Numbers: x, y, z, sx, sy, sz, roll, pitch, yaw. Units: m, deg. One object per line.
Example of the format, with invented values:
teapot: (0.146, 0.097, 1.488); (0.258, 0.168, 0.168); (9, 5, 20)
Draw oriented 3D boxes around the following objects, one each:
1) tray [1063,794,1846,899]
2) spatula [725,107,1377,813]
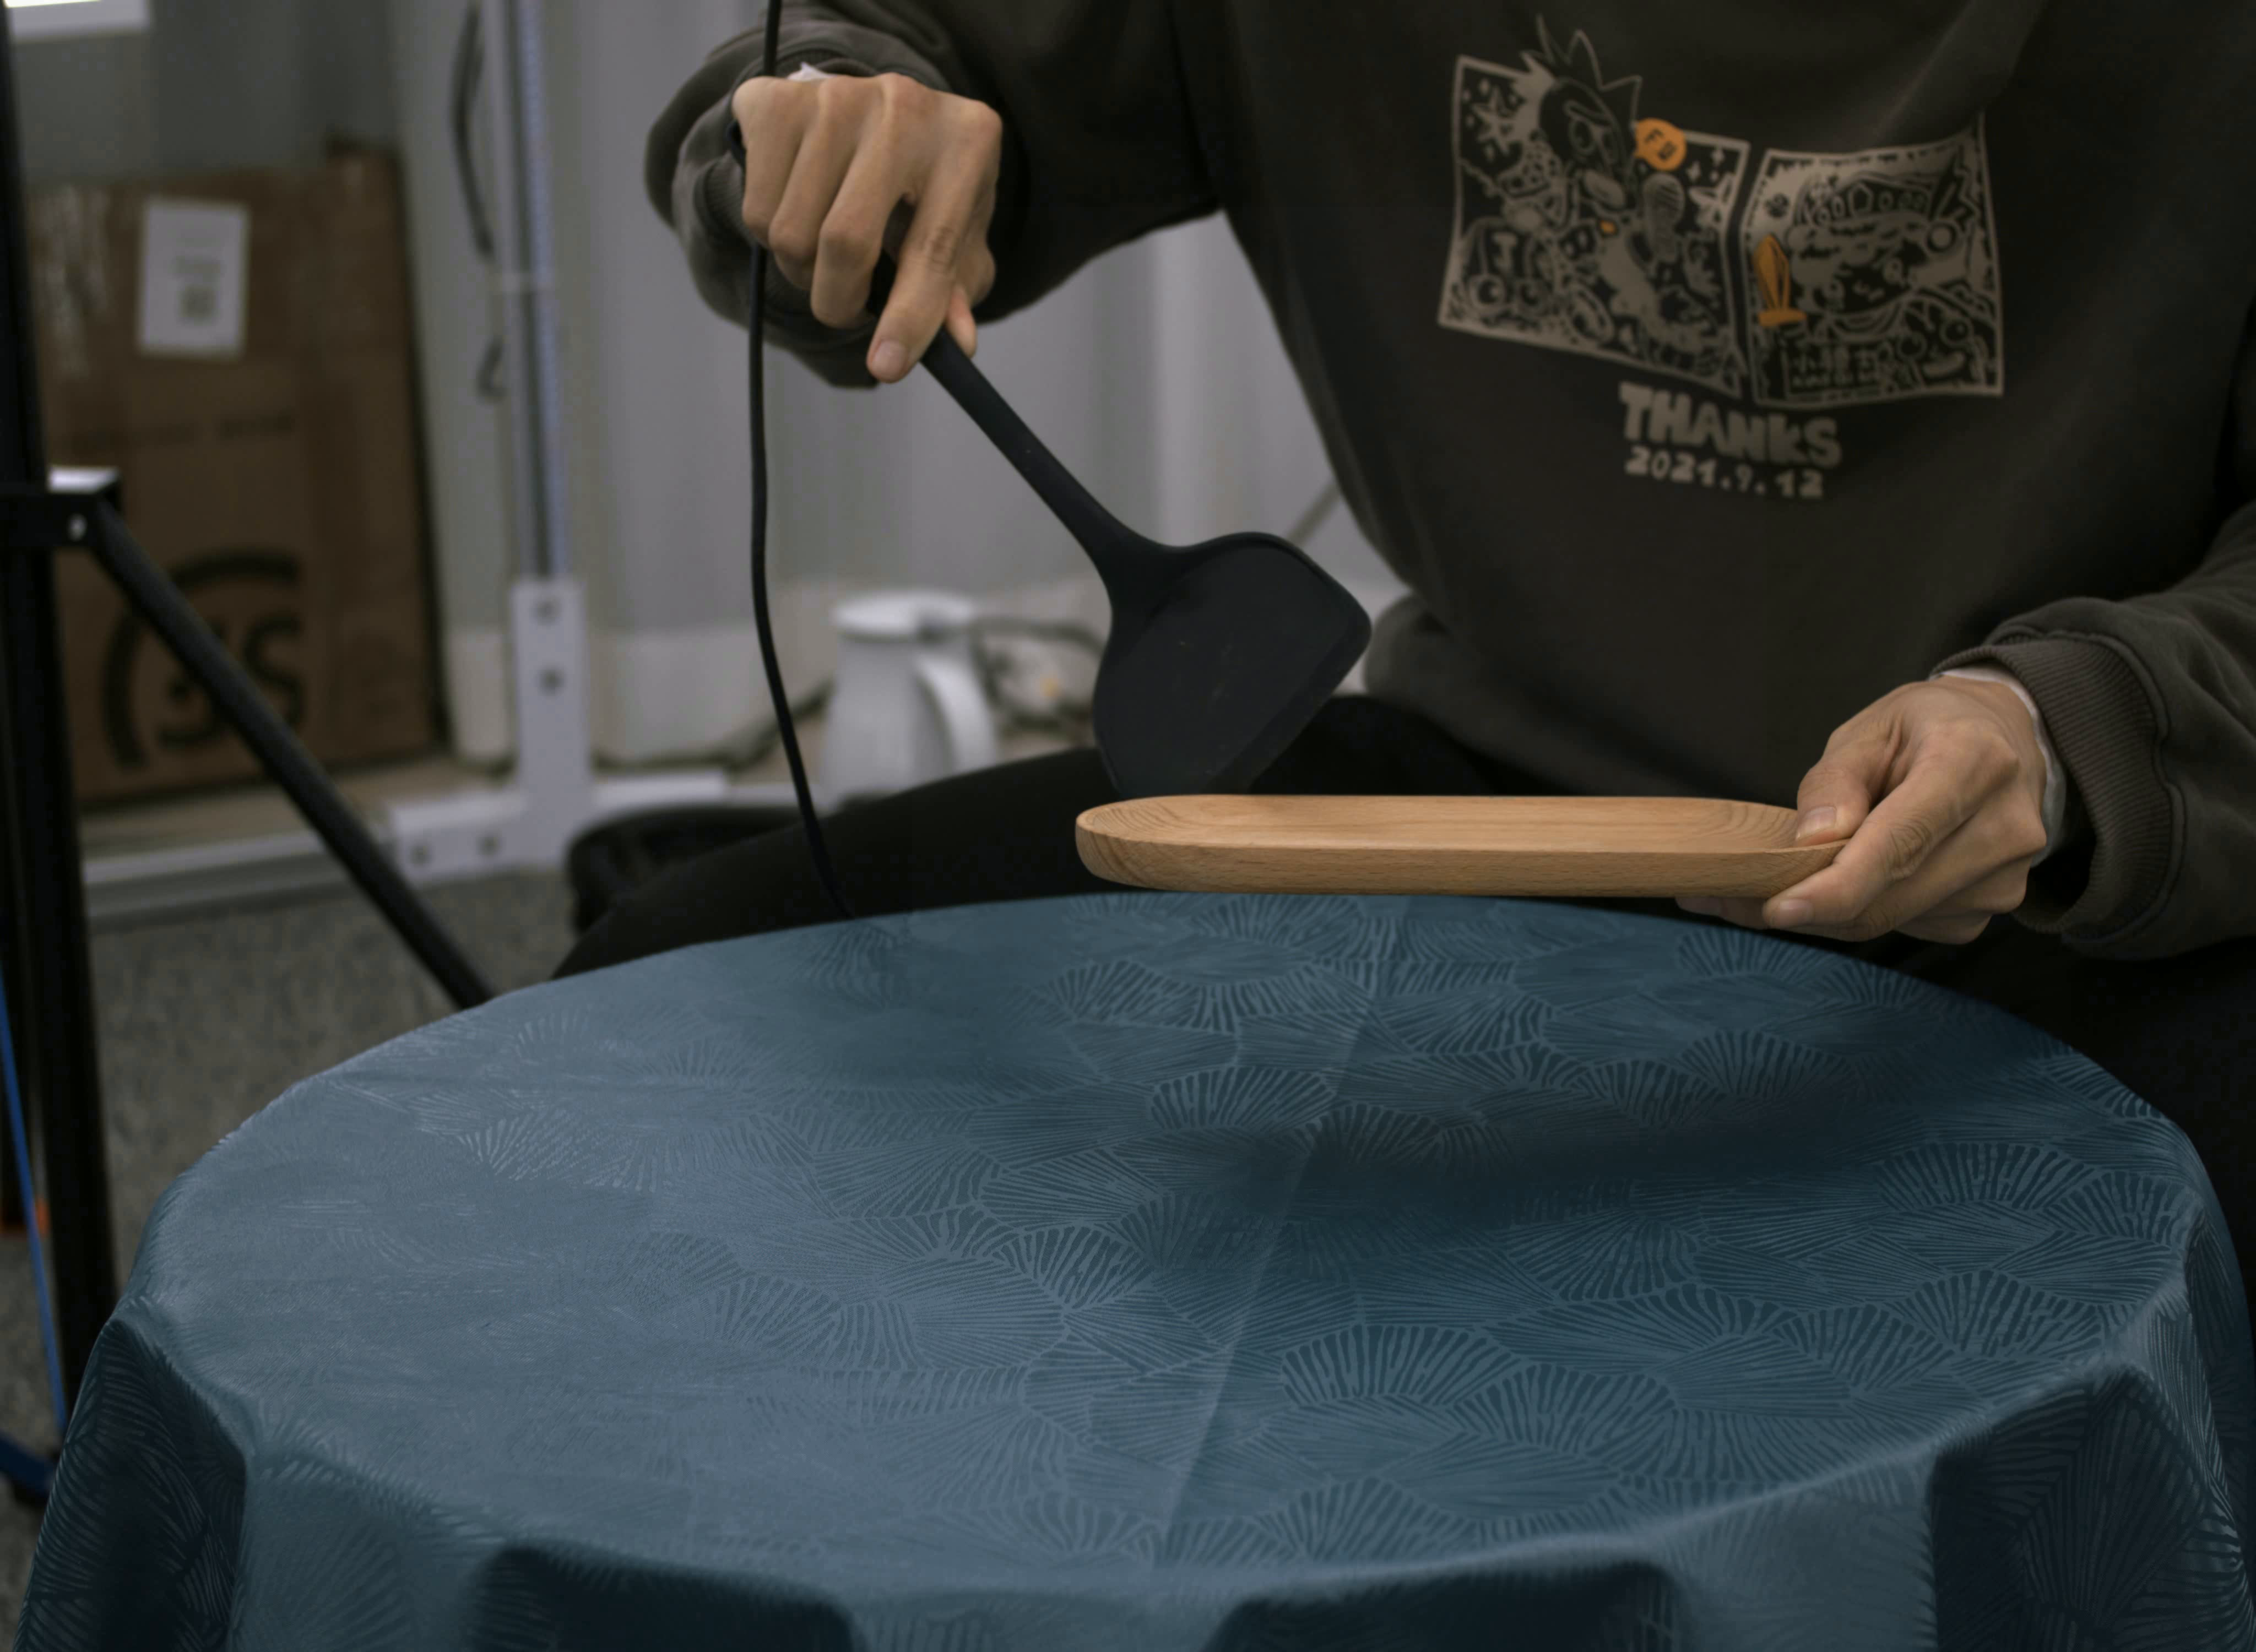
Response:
tray: (0.096, 0.007, 1.558); (0.229, 0.020, 0.102); (0, 8, -2)
spatula: (-0.042, -0.129, 1.693); (0.332, 0.100, 0.039); (49, 11, 28)
